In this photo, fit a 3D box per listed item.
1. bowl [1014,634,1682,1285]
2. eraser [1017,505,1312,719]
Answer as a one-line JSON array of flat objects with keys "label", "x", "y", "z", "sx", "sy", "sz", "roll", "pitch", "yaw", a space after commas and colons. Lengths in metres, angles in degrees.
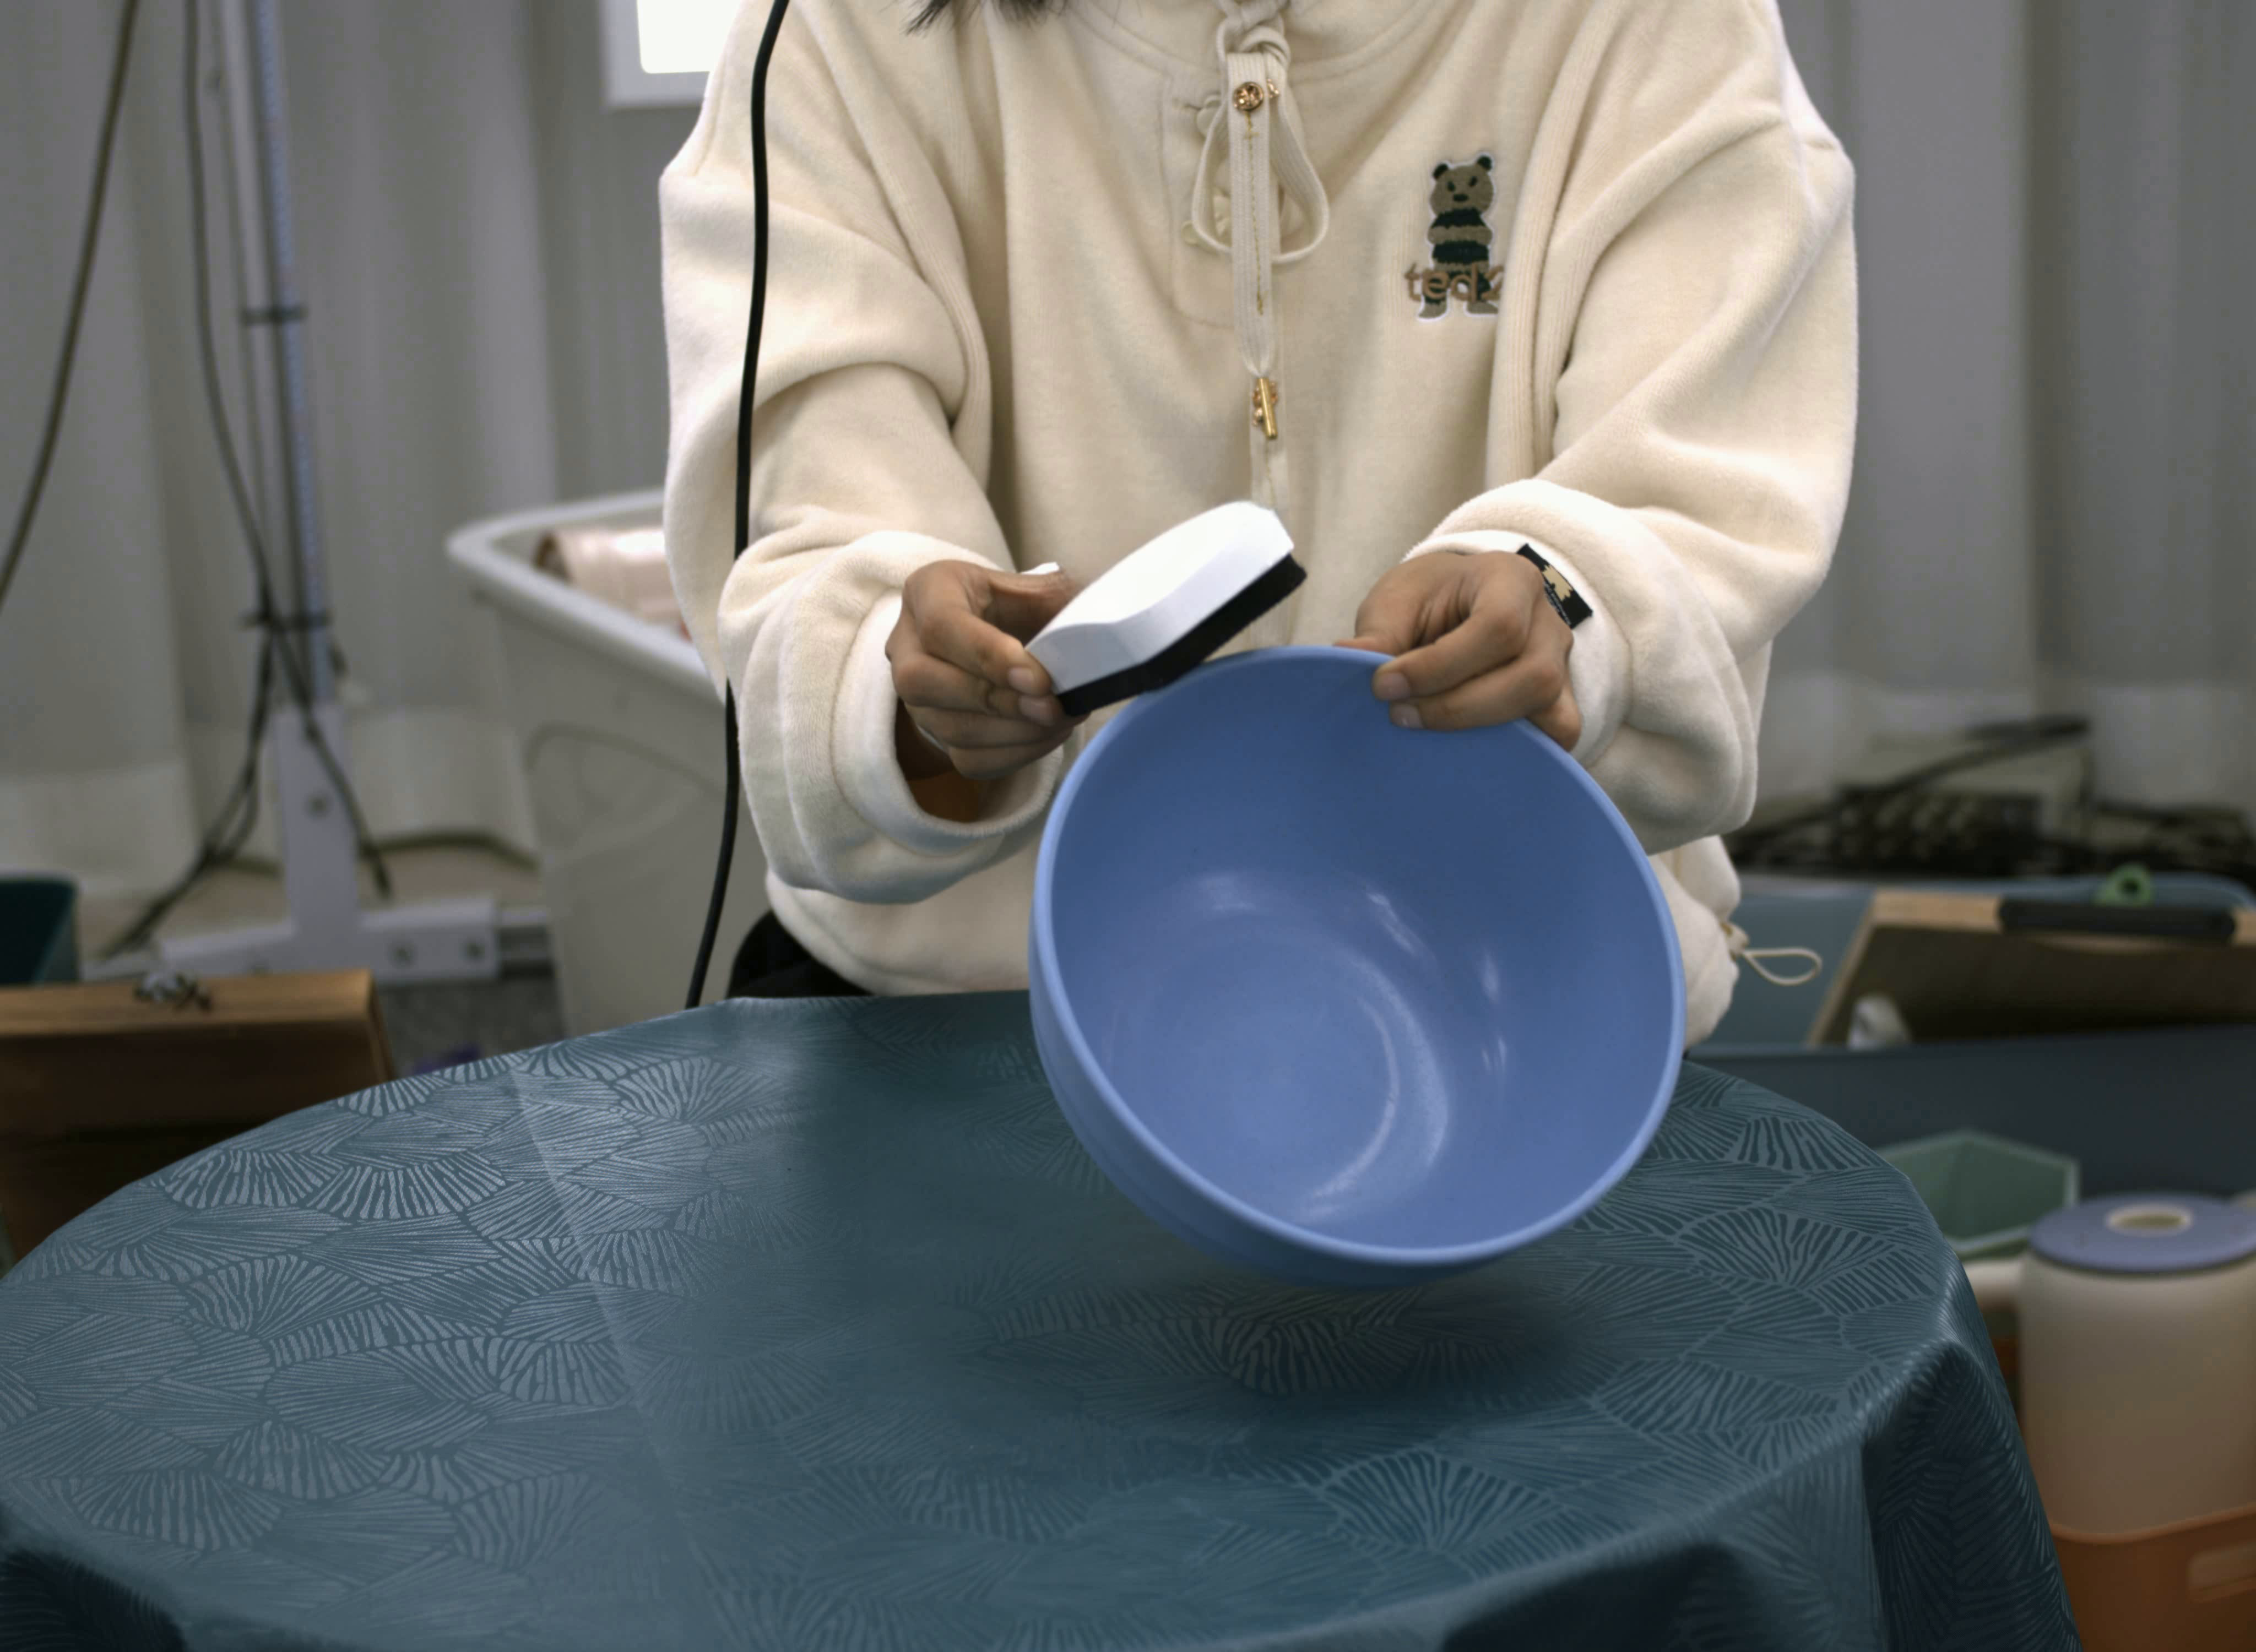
[{"label": "bowl", "x": 0.054, "y": 0.052, "z": 1.591, "sx": 0.195, "sy": 0.199, "sz": 0.094, "roll": -7, "pitch": -25, "yaw": -17}, {"label": "eraser", "x": 0.010, "y": -0.064, "z": 1.610, "sx": 0.063, "sy": 0.034, "sz": 0.131, "roll": -37, "pitch": 7, "yaw": -15}]
